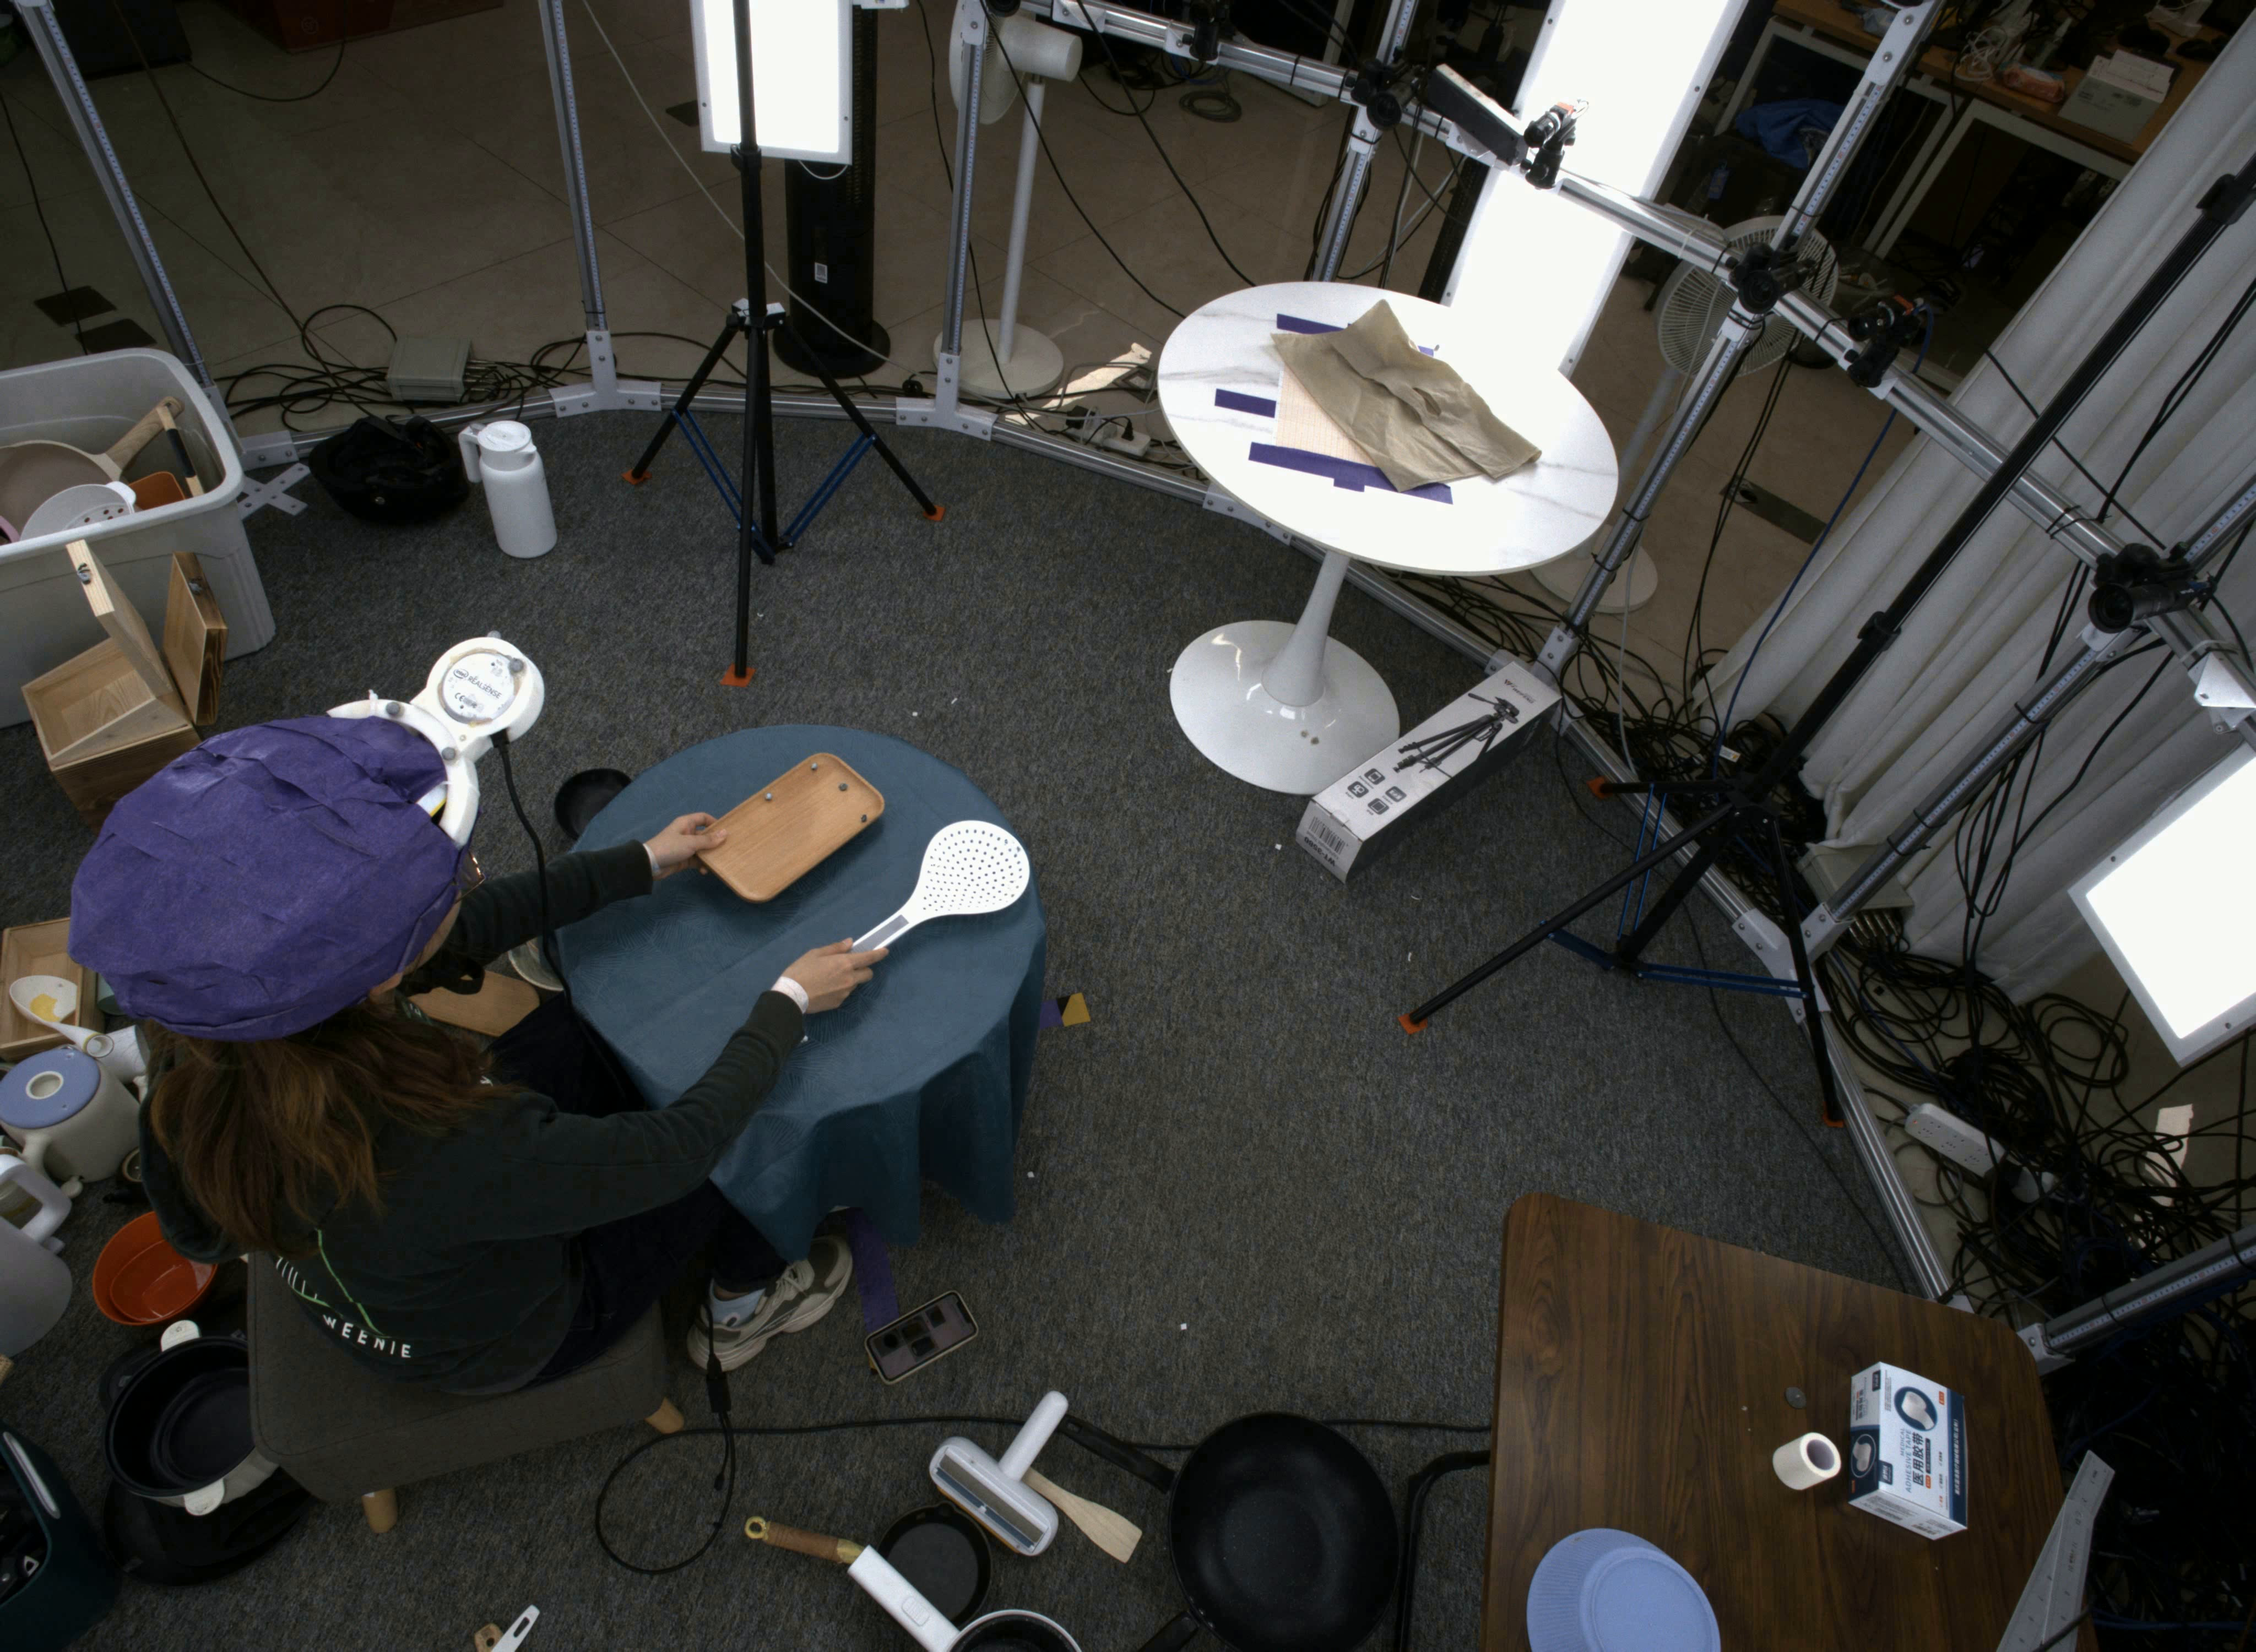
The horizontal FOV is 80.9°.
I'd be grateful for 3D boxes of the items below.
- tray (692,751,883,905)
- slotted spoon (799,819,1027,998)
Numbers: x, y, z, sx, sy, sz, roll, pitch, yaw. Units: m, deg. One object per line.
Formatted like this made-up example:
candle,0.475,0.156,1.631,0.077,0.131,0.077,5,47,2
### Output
tray,-0.435,-0.001,1.671,0.129,0.023,0.250,39,50,9
slotted spoon,-0.271,0.106,1.643,0.134,0.046,0.350,44,50,12
